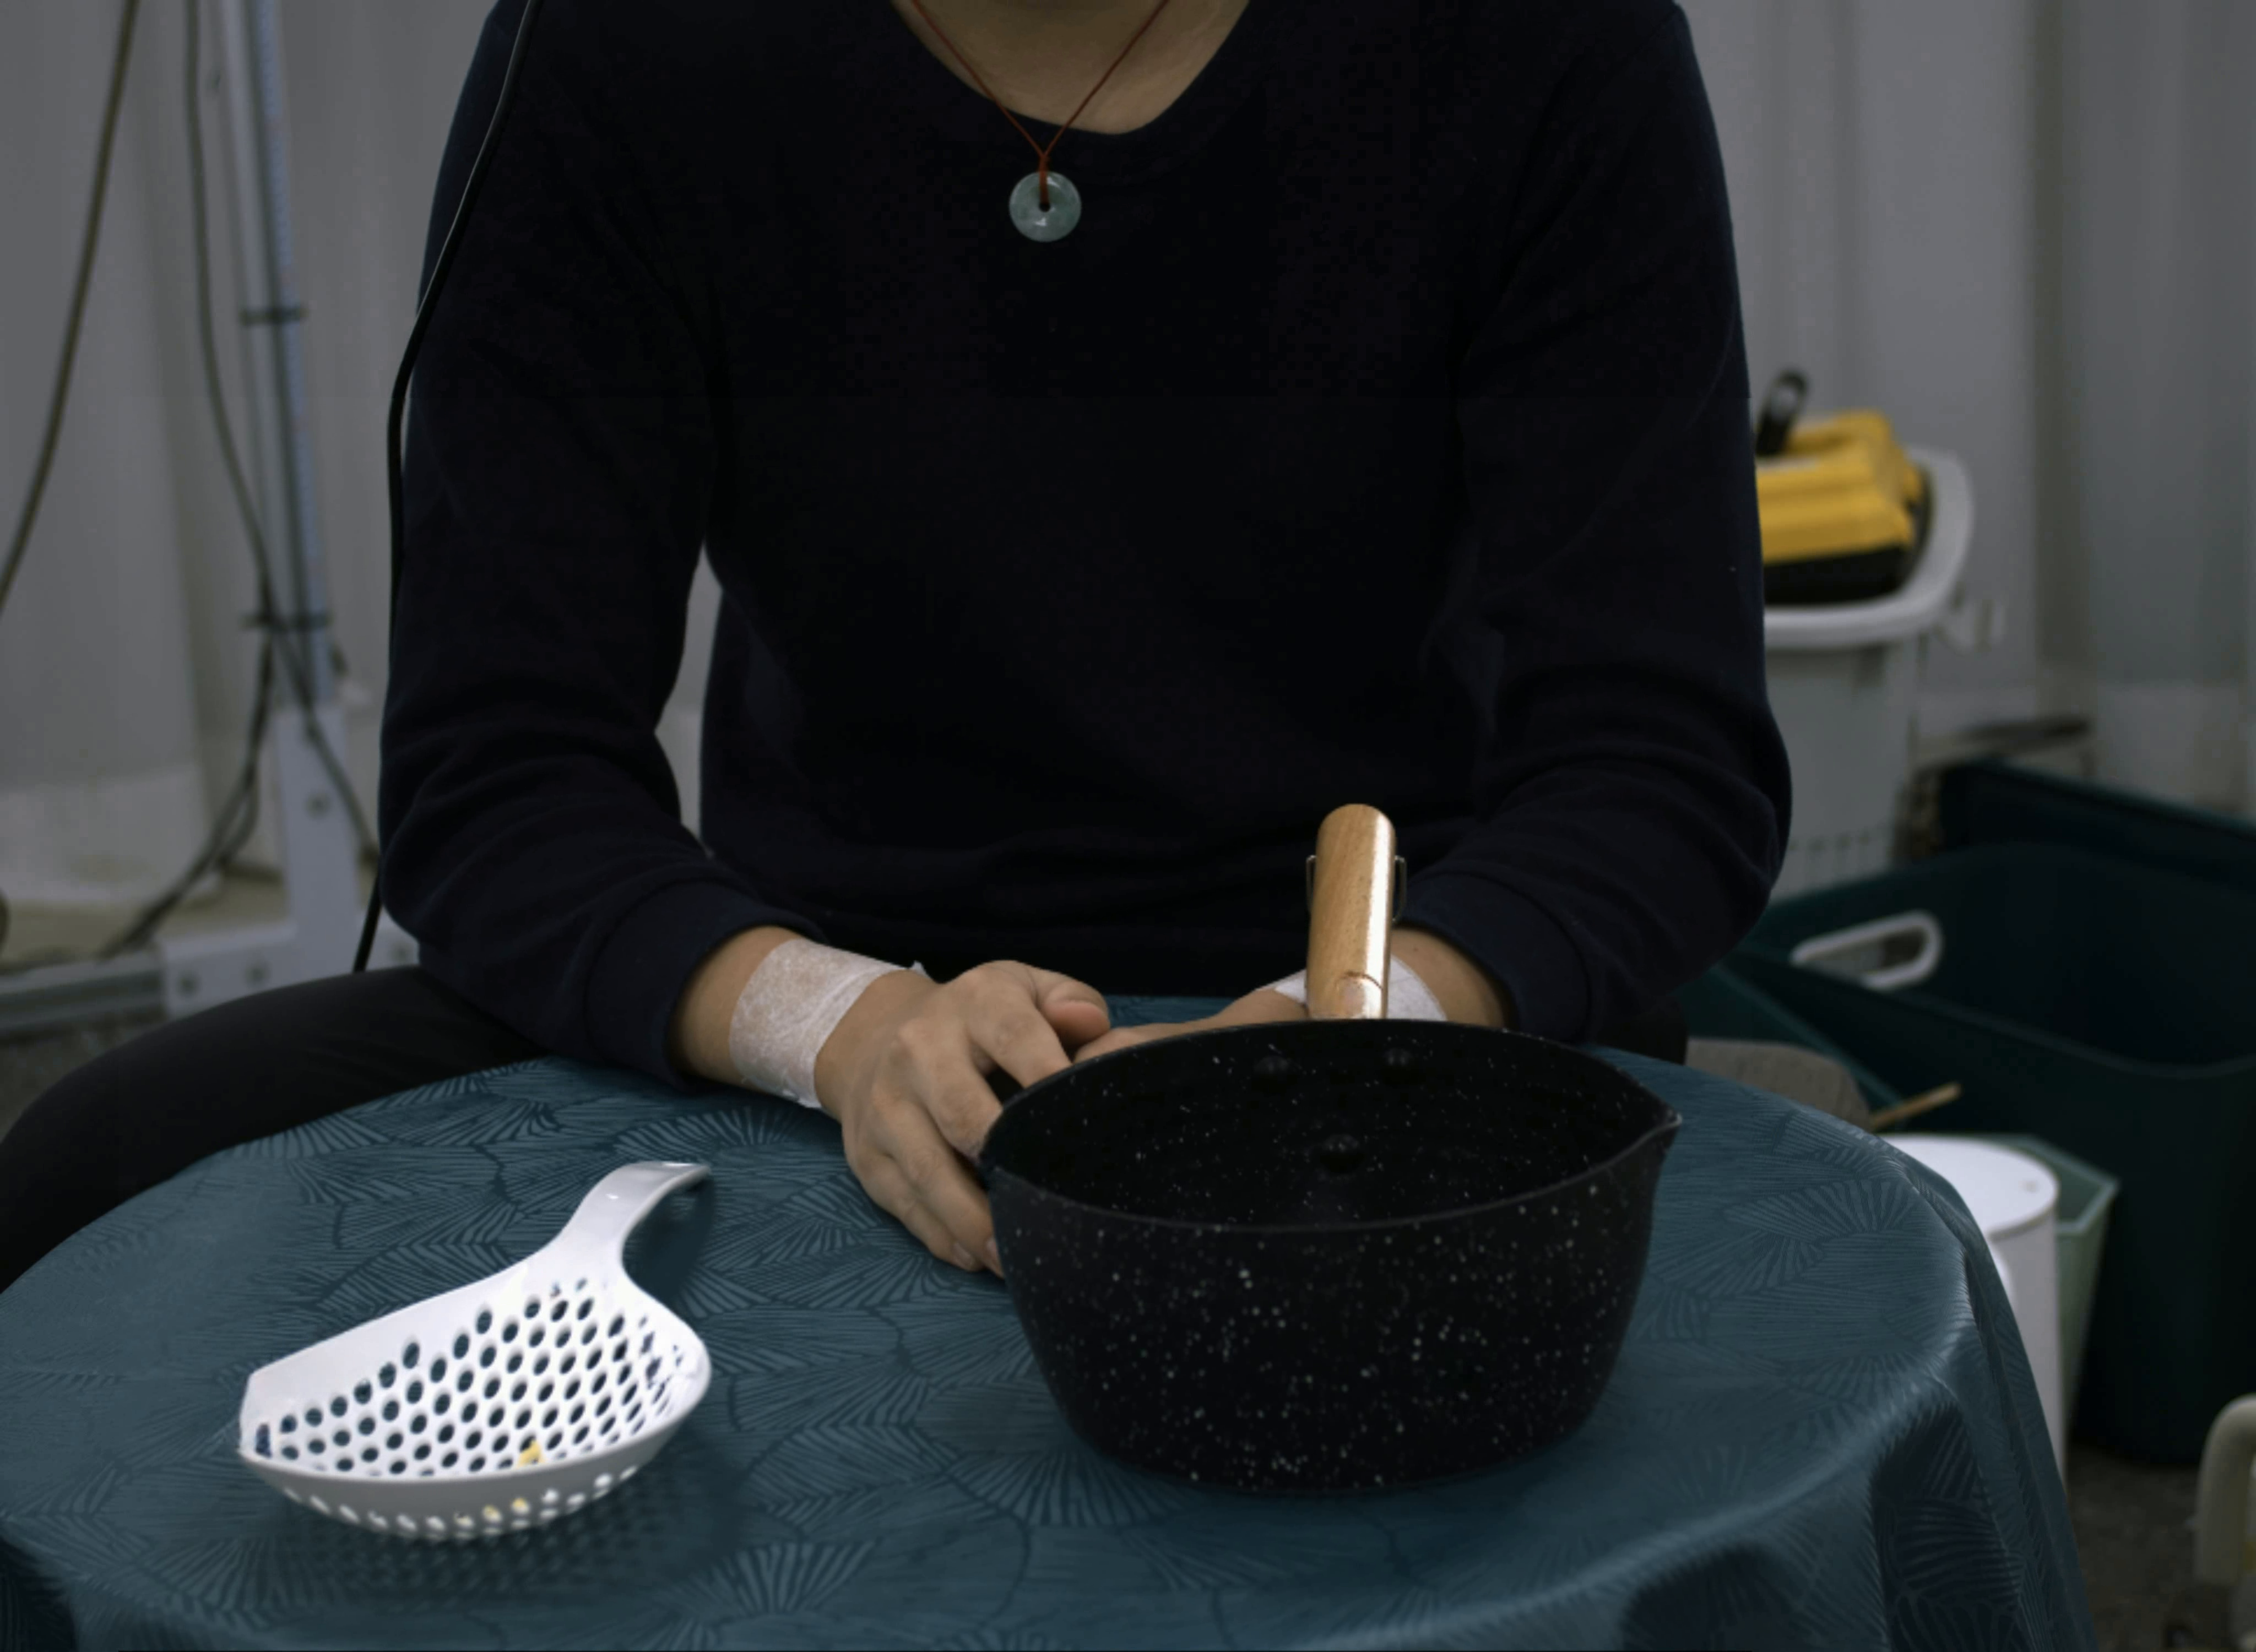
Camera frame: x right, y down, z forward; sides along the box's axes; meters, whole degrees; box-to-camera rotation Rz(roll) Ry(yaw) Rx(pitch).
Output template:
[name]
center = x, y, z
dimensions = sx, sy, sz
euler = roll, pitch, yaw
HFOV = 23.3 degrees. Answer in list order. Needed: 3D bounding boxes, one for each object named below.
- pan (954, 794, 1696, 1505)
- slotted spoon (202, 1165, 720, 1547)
[pan]
center = 0.060, 0.089, 1.594
dimensions = 0.207, 0.108, 0.345
euler = -3, 16, 5
[slotted spoon]
center = -0.164, 0.138, 1.577
dimensions = 0.136, 0.050, 0.350
euler = -2, 17, 8
